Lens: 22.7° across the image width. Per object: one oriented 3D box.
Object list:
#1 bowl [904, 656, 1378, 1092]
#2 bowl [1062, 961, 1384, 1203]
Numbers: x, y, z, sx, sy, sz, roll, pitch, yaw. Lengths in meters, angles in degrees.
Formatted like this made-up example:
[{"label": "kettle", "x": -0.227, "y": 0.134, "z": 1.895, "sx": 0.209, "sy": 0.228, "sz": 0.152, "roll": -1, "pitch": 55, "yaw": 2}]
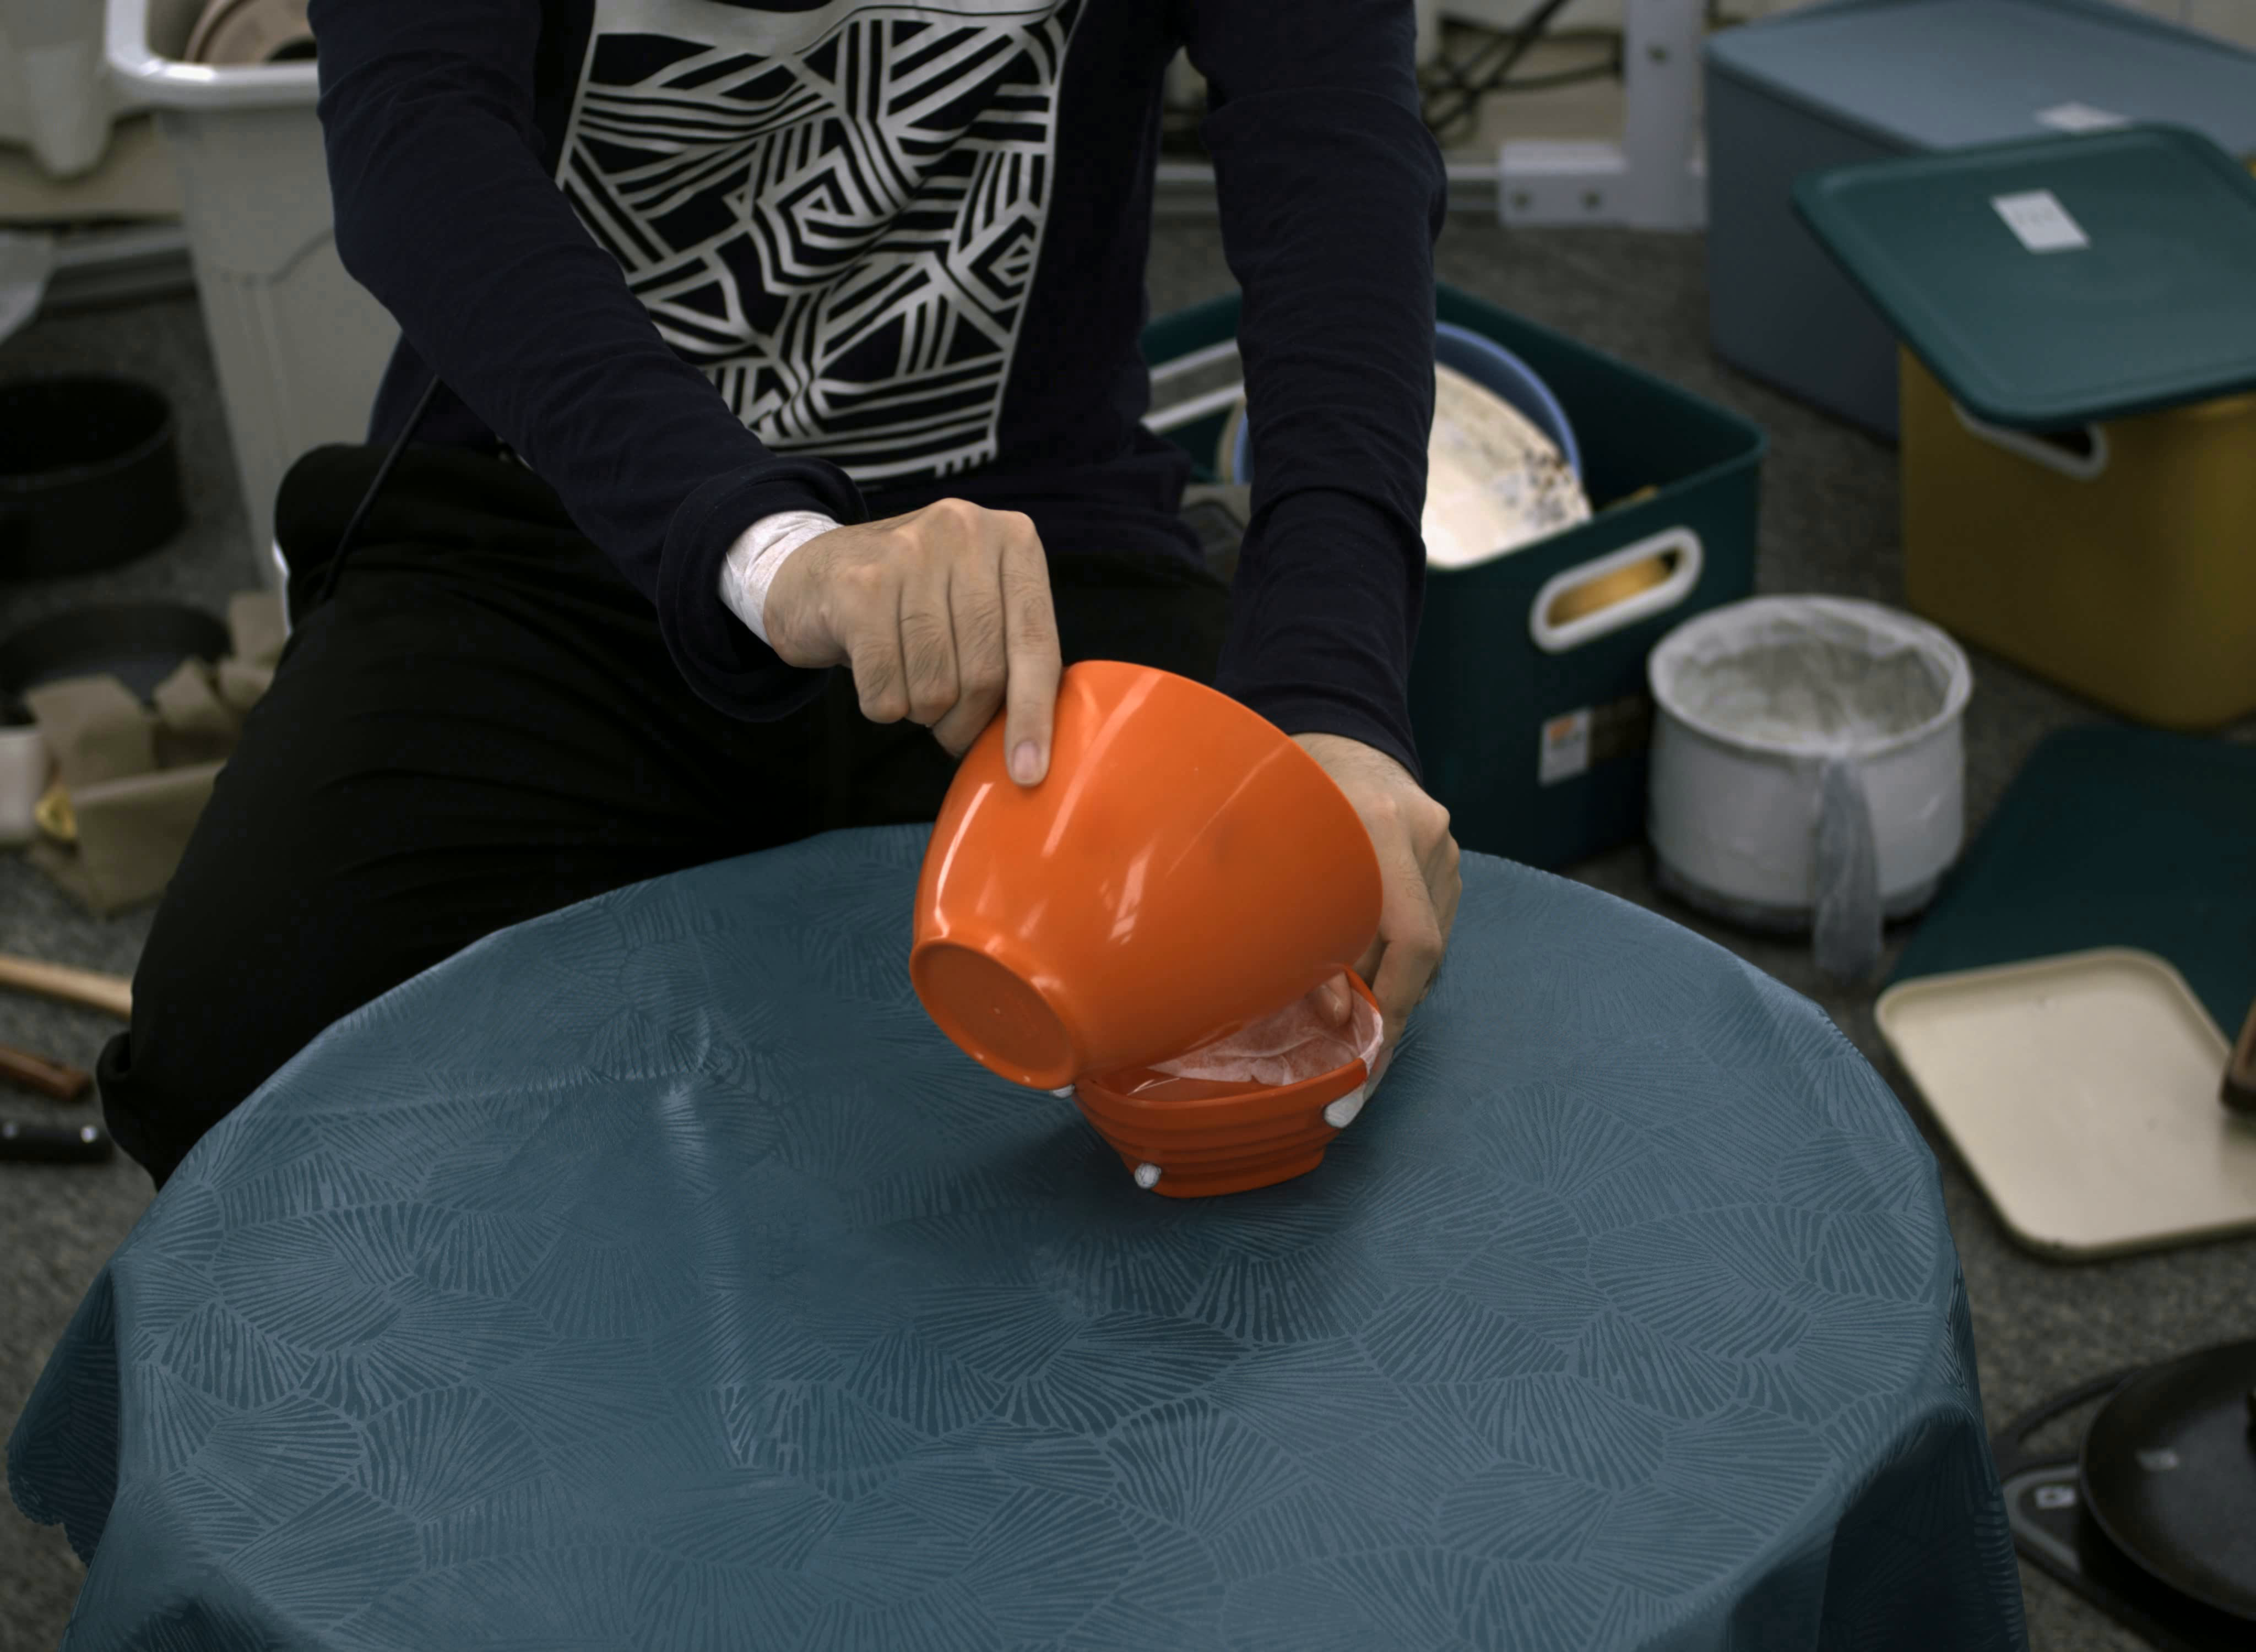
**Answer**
[{"label": "bowl", "x": -0.008, "y": 0.028, "z": 1.812, "sx": 0.147, "sy": 0.146, "sz": 0.106, "roll": 16, "pitch": 50, "yaw": 32}, {"label": "bowl", "x": 0.030, "y": 0.085, "z": 1.877, "sx": 0.118, "sy": 0.051, "sz": 0.120, "roll": -4, "pitch": 26, "yaw": 2}]
